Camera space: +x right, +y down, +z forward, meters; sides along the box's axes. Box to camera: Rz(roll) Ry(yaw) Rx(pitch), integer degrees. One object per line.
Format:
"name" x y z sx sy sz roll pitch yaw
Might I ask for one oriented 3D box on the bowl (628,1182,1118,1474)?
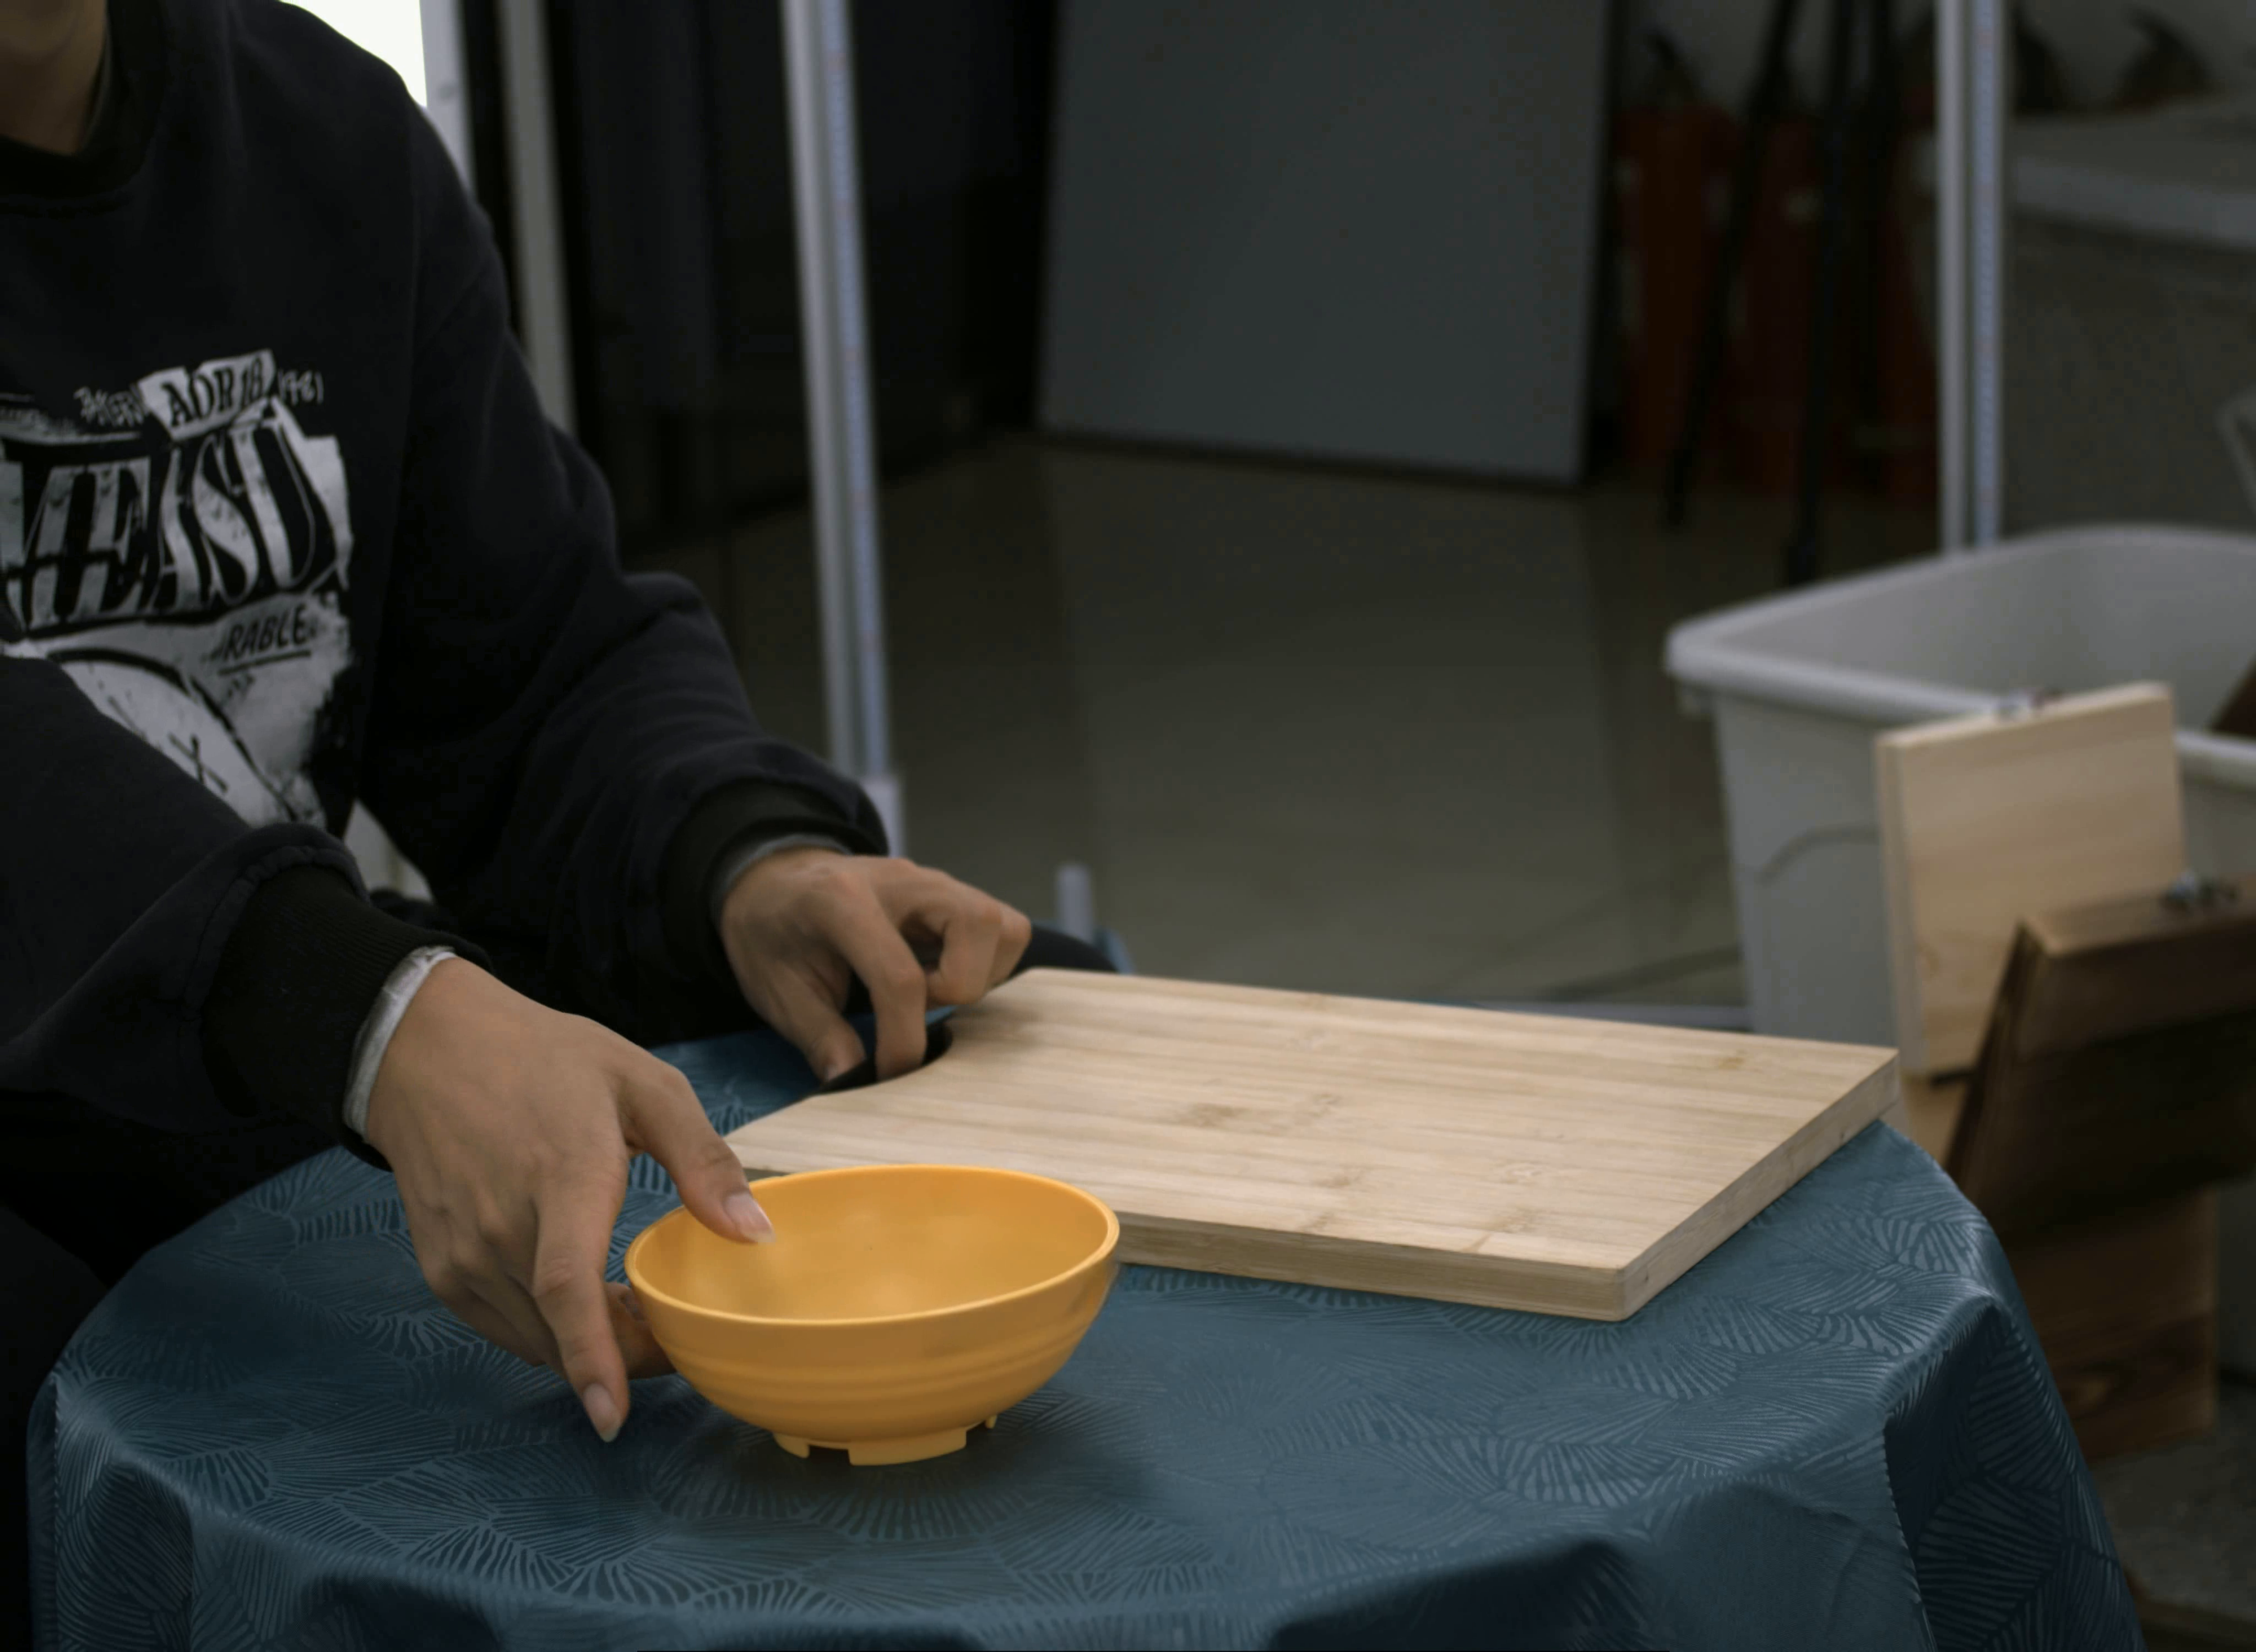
"bowl" -0.072 0.149 1.562 0.143 0.061 0.145 -3 11 0

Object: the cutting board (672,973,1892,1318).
"cutting board" 0.053 0.102 1.800 0.350 0.024 0.247 4 16 29
